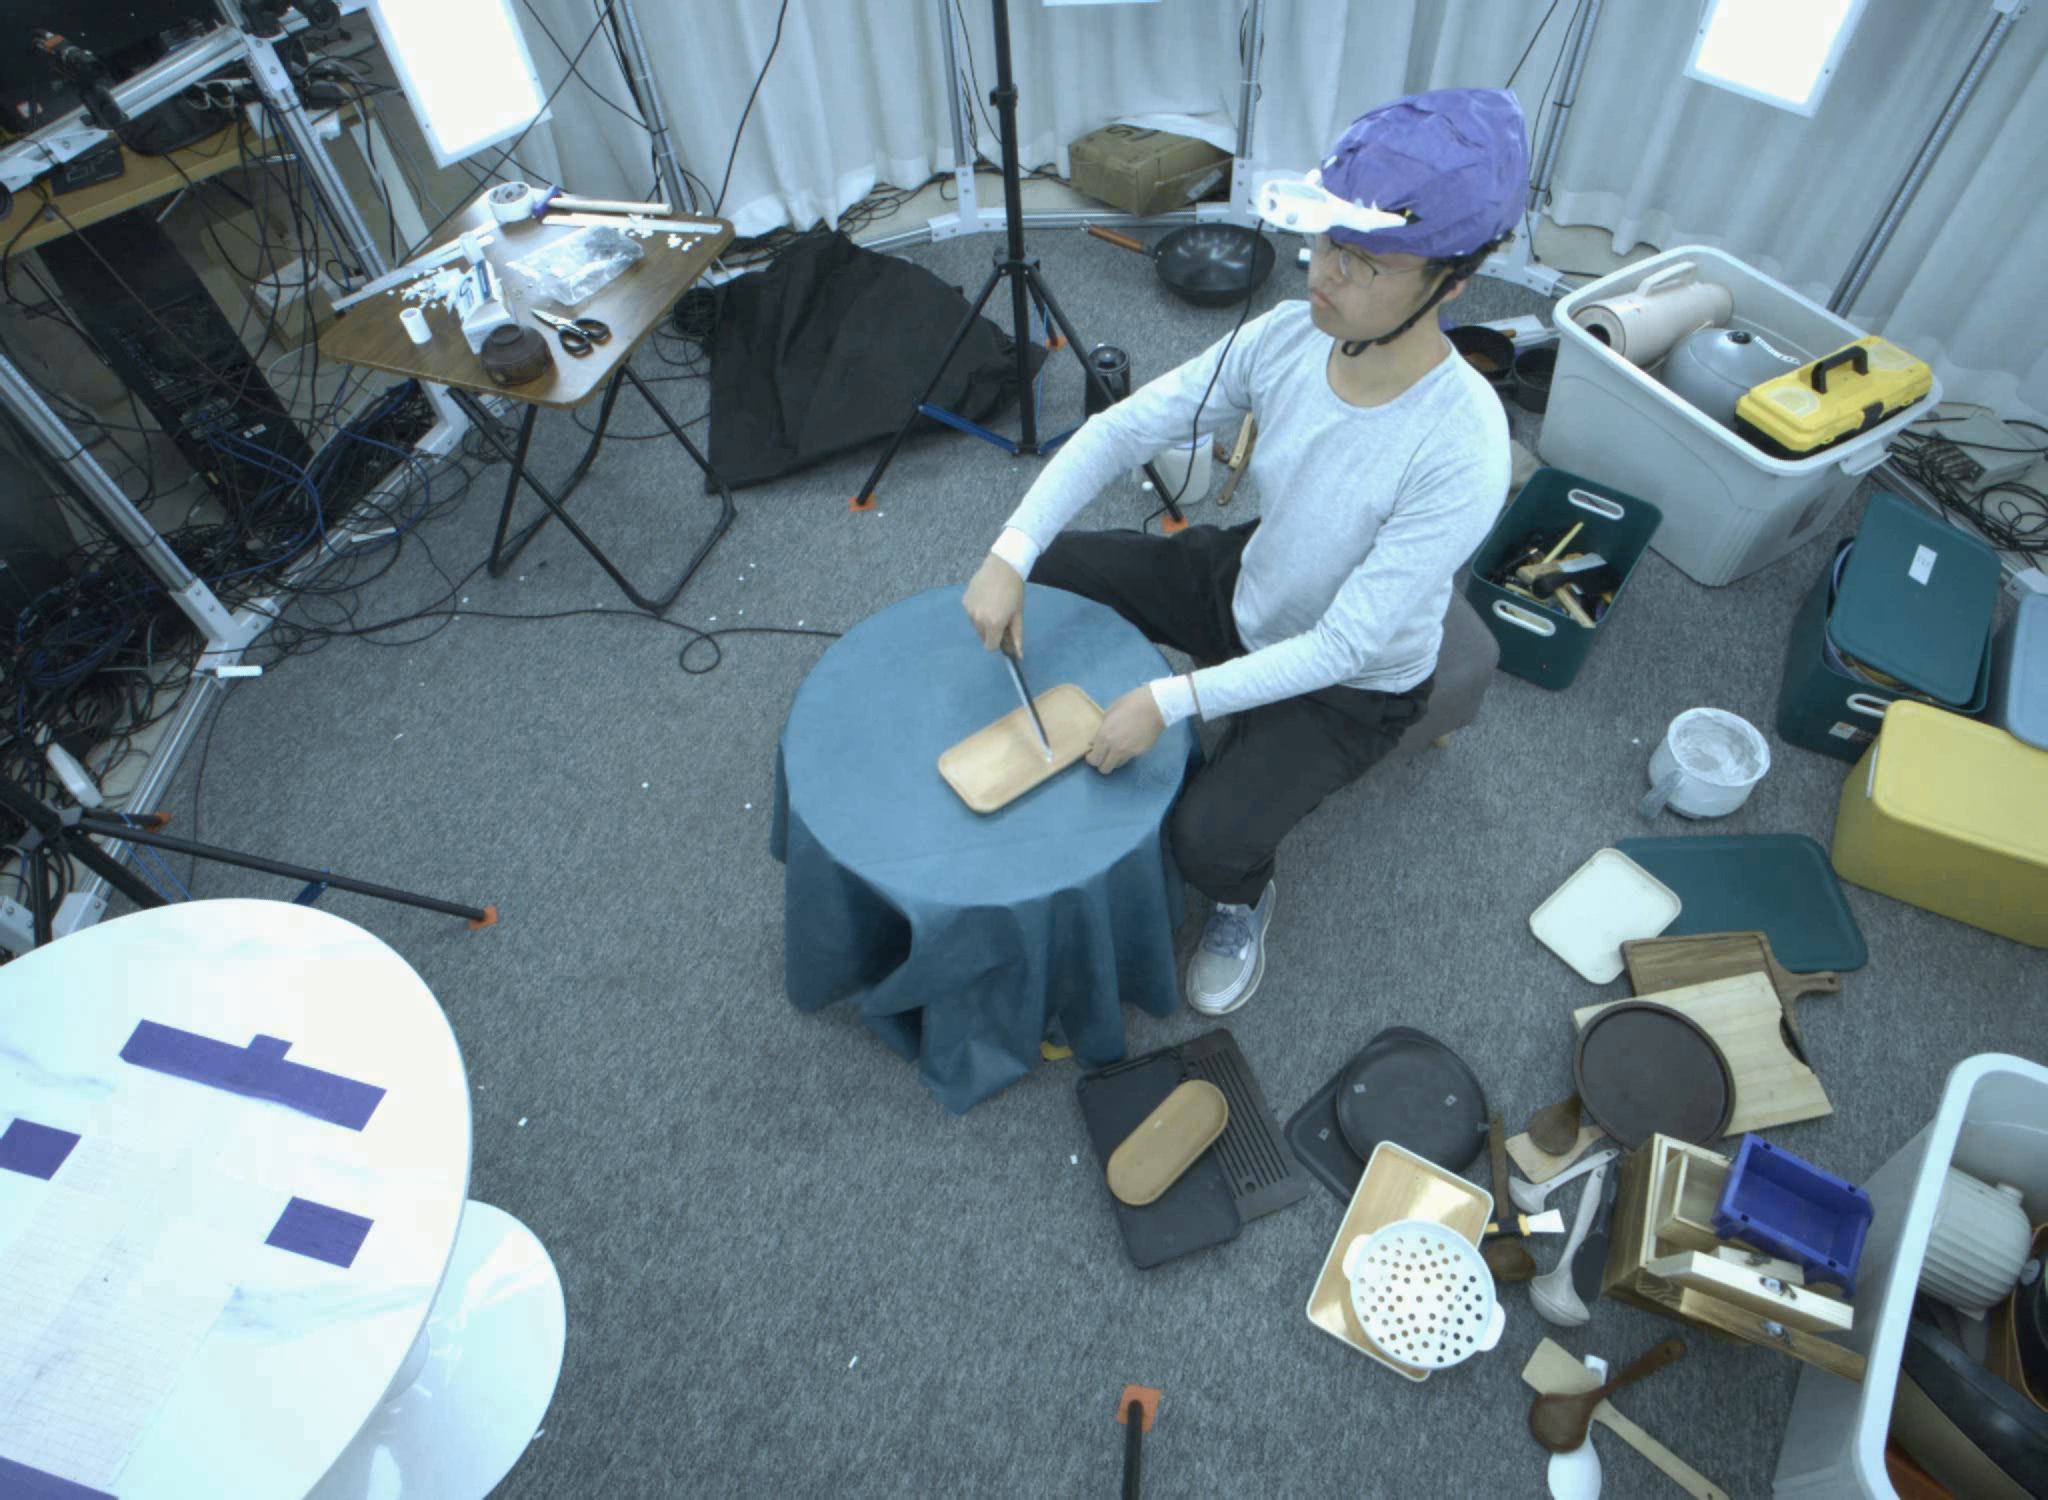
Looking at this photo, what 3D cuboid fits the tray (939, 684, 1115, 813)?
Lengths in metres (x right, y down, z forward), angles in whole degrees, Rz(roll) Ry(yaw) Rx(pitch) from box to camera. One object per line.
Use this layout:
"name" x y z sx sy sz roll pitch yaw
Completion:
"tray" 0.005 -0.004 1.786 0.253 0.023 0.128 -30 59 -19

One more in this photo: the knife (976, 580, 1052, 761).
"knife" -0.012 -0.116 1.776 0.020 0.050 0.287 -19 80 -14
